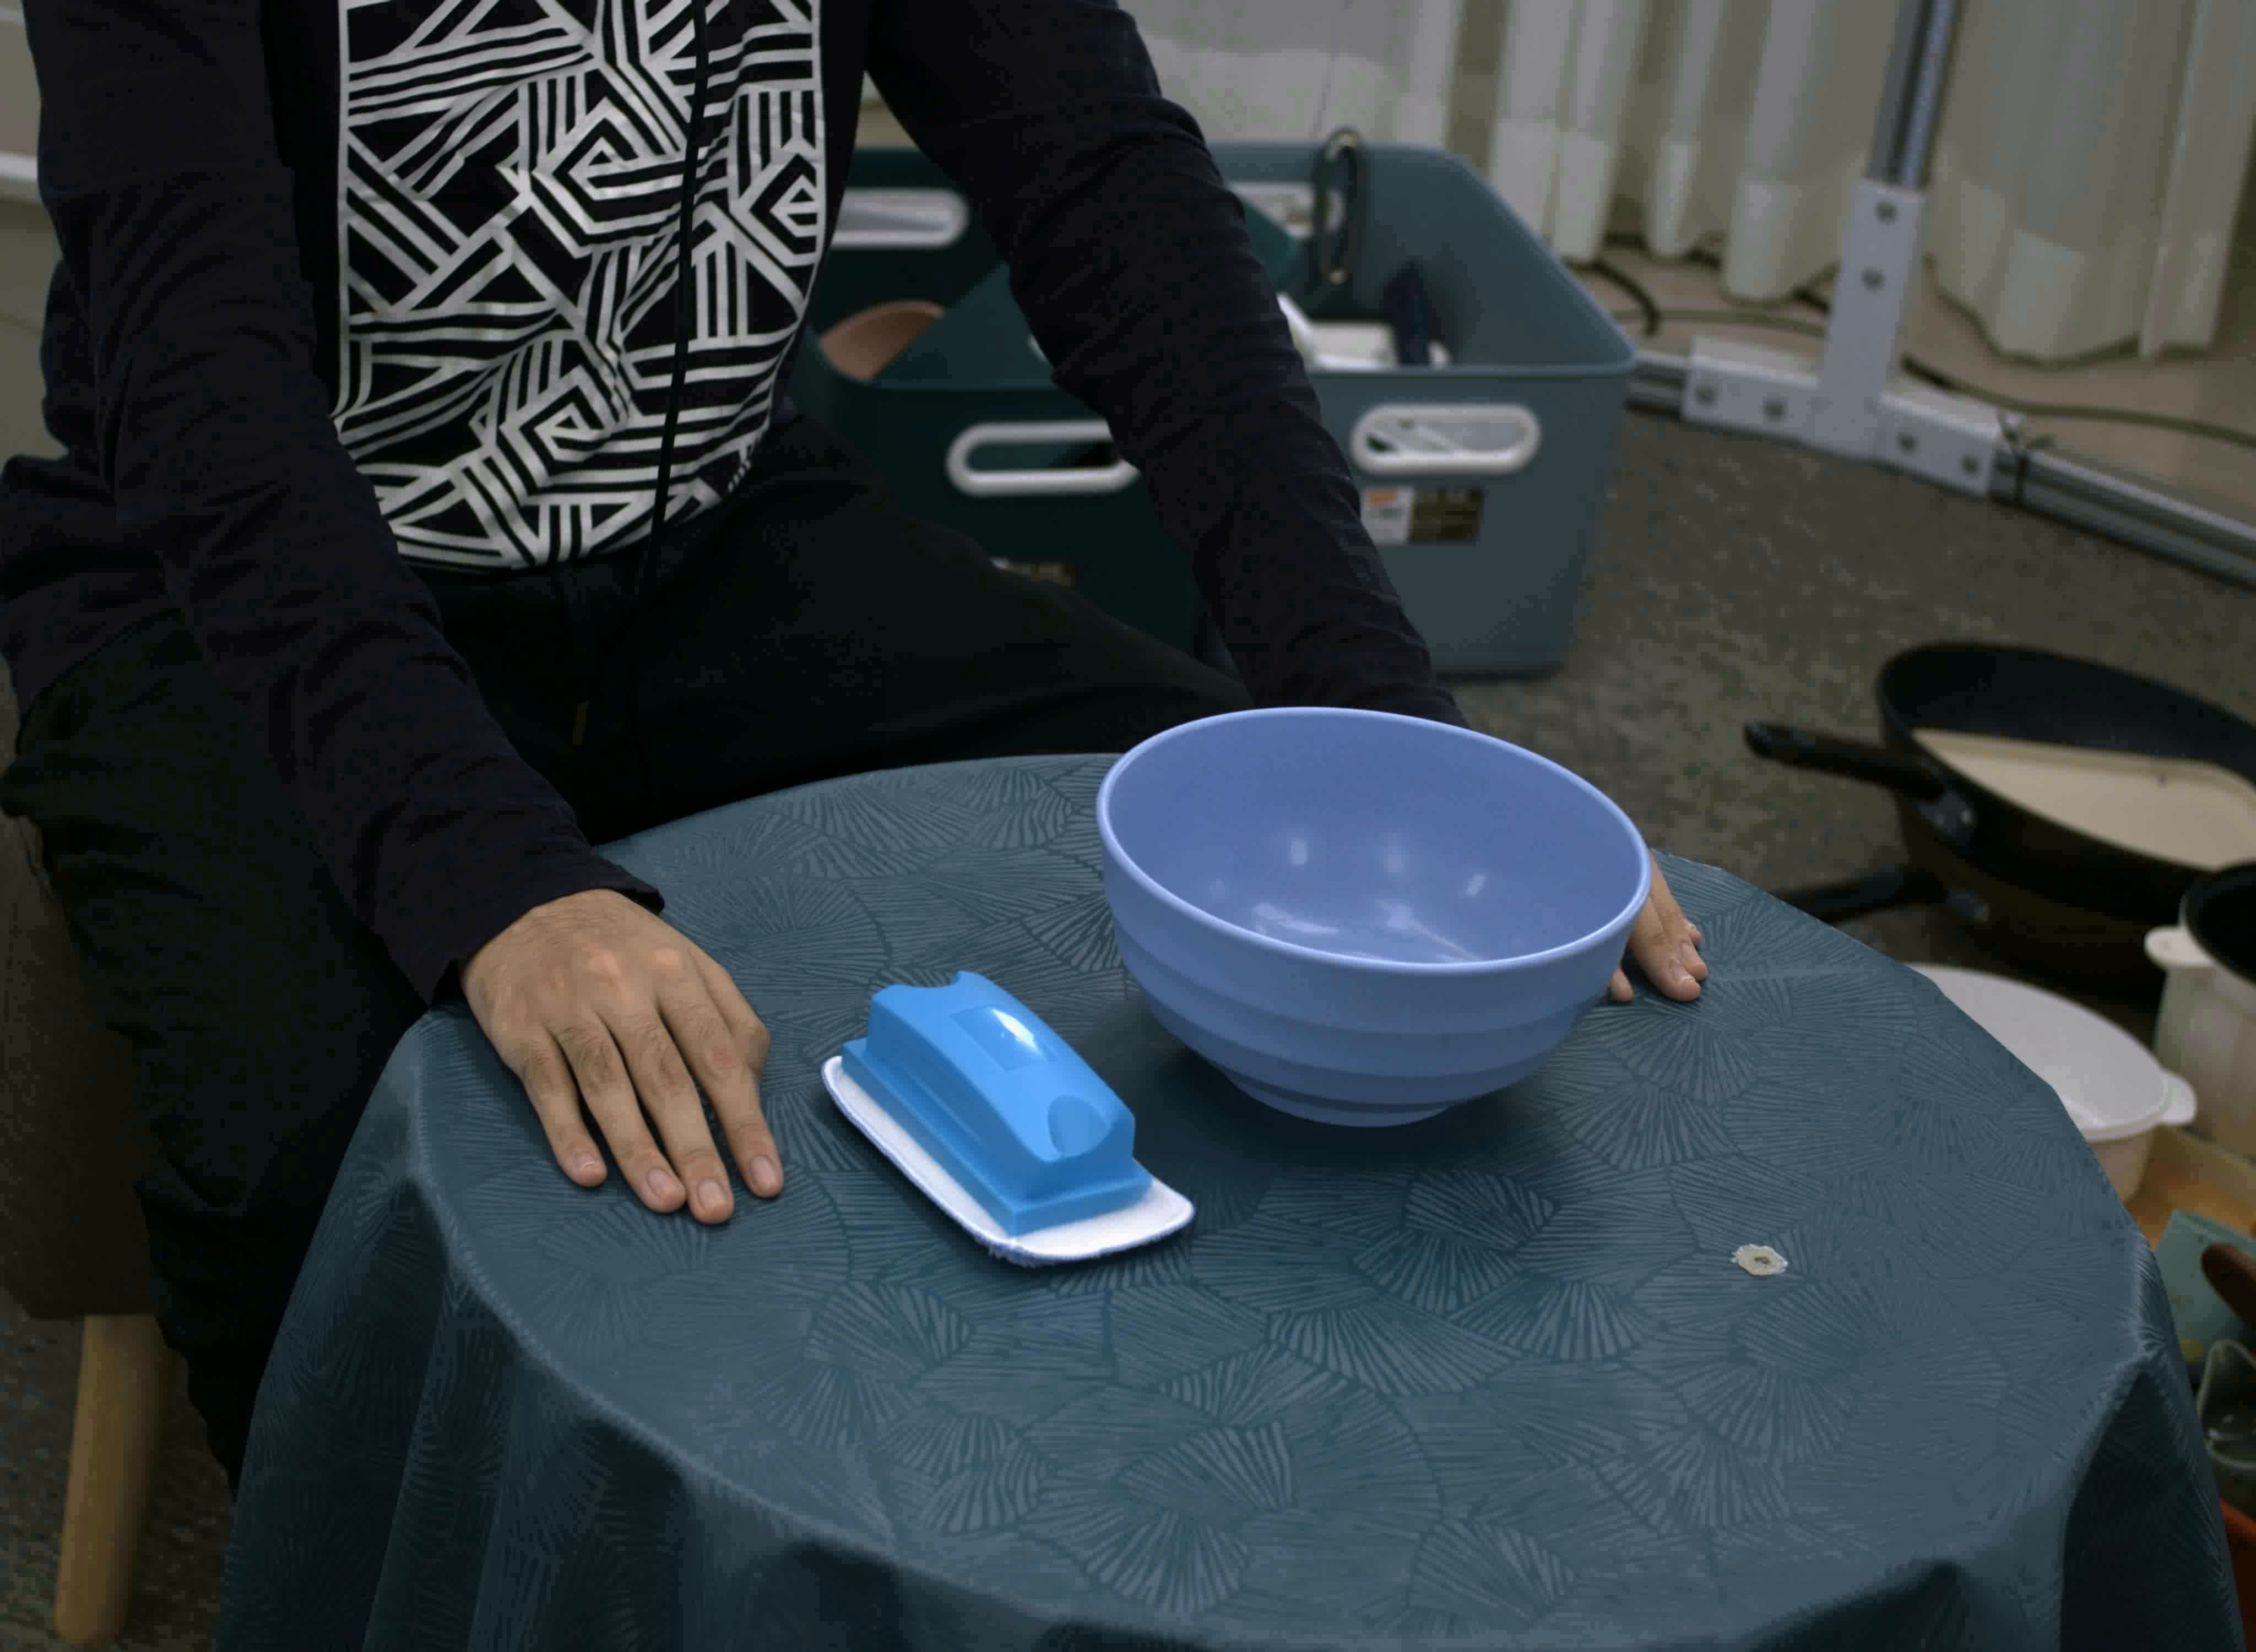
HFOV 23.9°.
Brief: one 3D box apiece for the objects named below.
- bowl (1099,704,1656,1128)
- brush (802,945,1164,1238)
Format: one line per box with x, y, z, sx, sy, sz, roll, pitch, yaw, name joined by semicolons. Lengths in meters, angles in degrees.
0.082;0.043;1.880;0.196;0.095;0.198;5;27;-3;bowl
-0.046;0.085;1.802;0.083;0.056;0.145;-5;32;-31;brush
